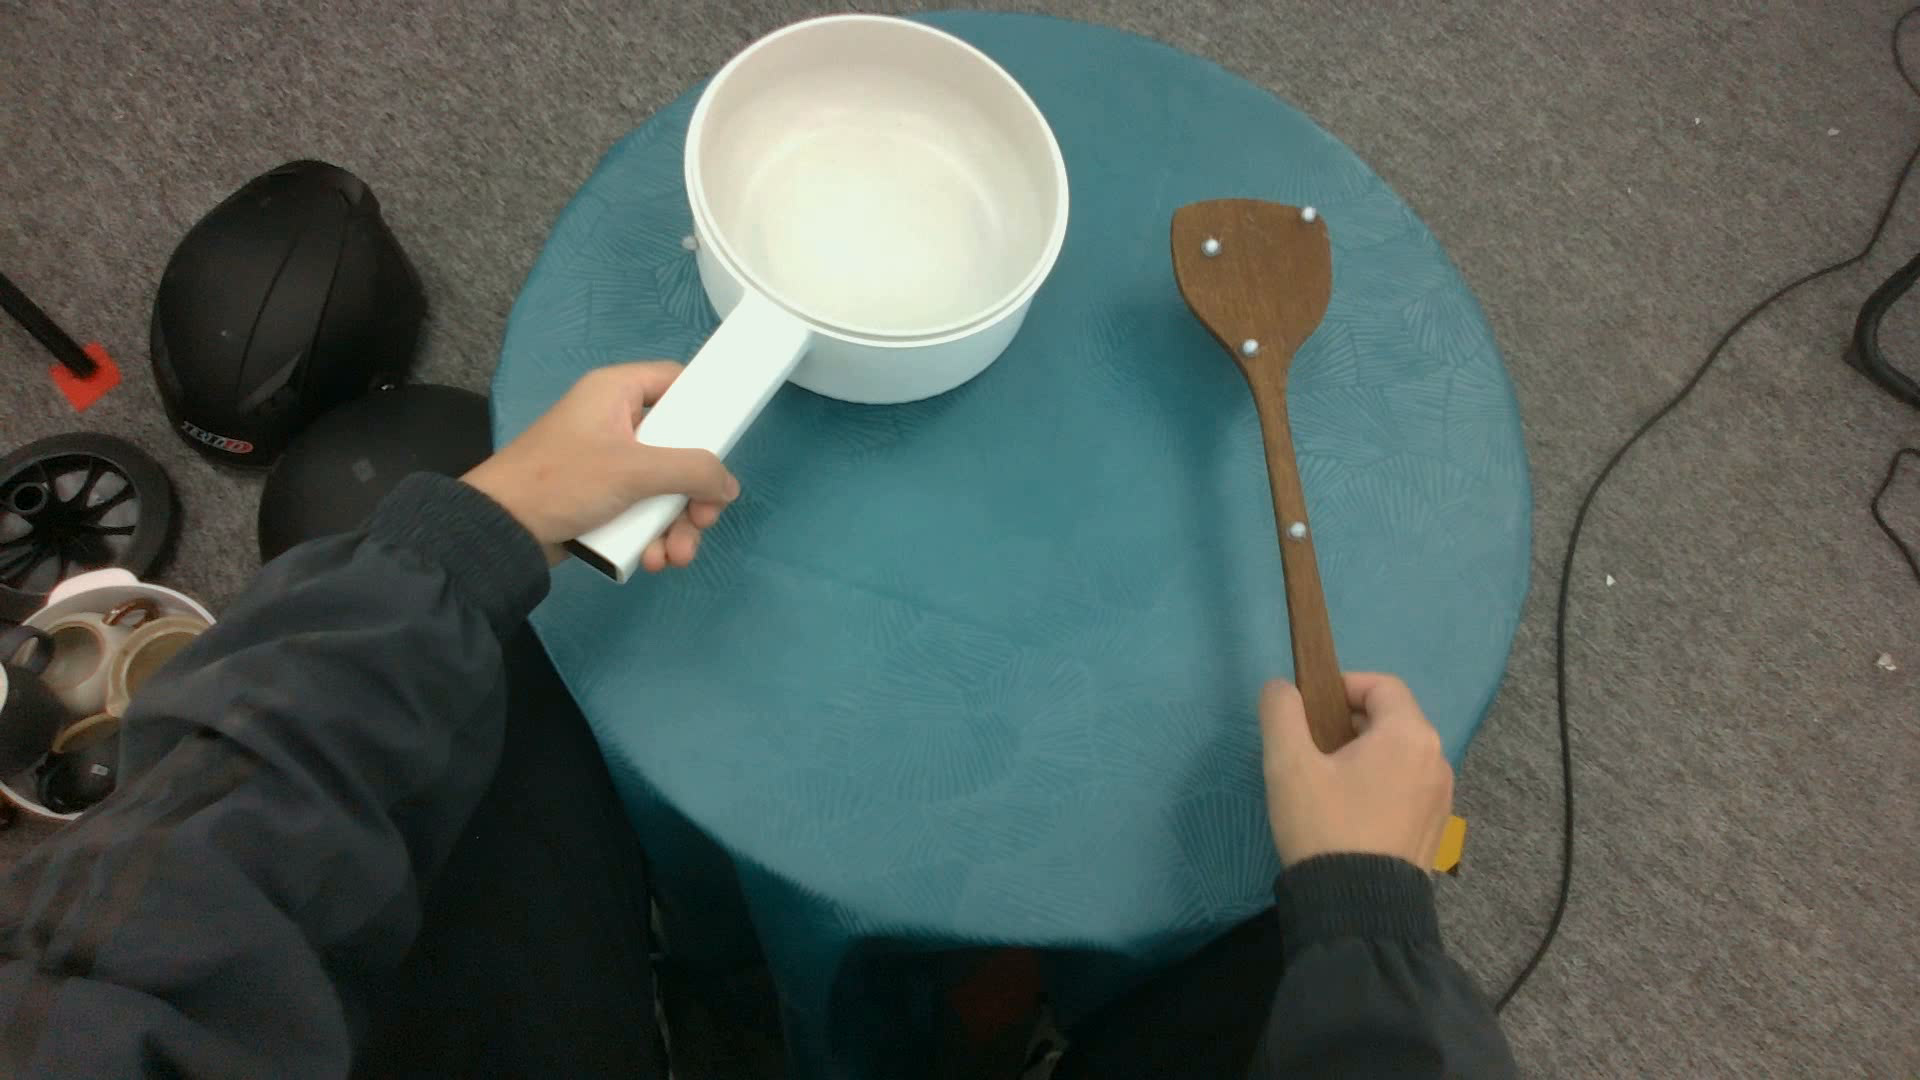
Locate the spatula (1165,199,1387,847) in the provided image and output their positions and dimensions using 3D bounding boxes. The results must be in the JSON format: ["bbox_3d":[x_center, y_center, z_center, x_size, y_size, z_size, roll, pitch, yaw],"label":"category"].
[{"bbox_3d":[0.179,-0.028,0.743,0.096,0.016,0.387,-1,65,-9],"label":"spatula"}]

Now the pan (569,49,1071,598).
[{"bbox_3d":[-0.083,-0.108,0.755,0.201,0.101,0.356,31,68,4],"label":"pan"}]
